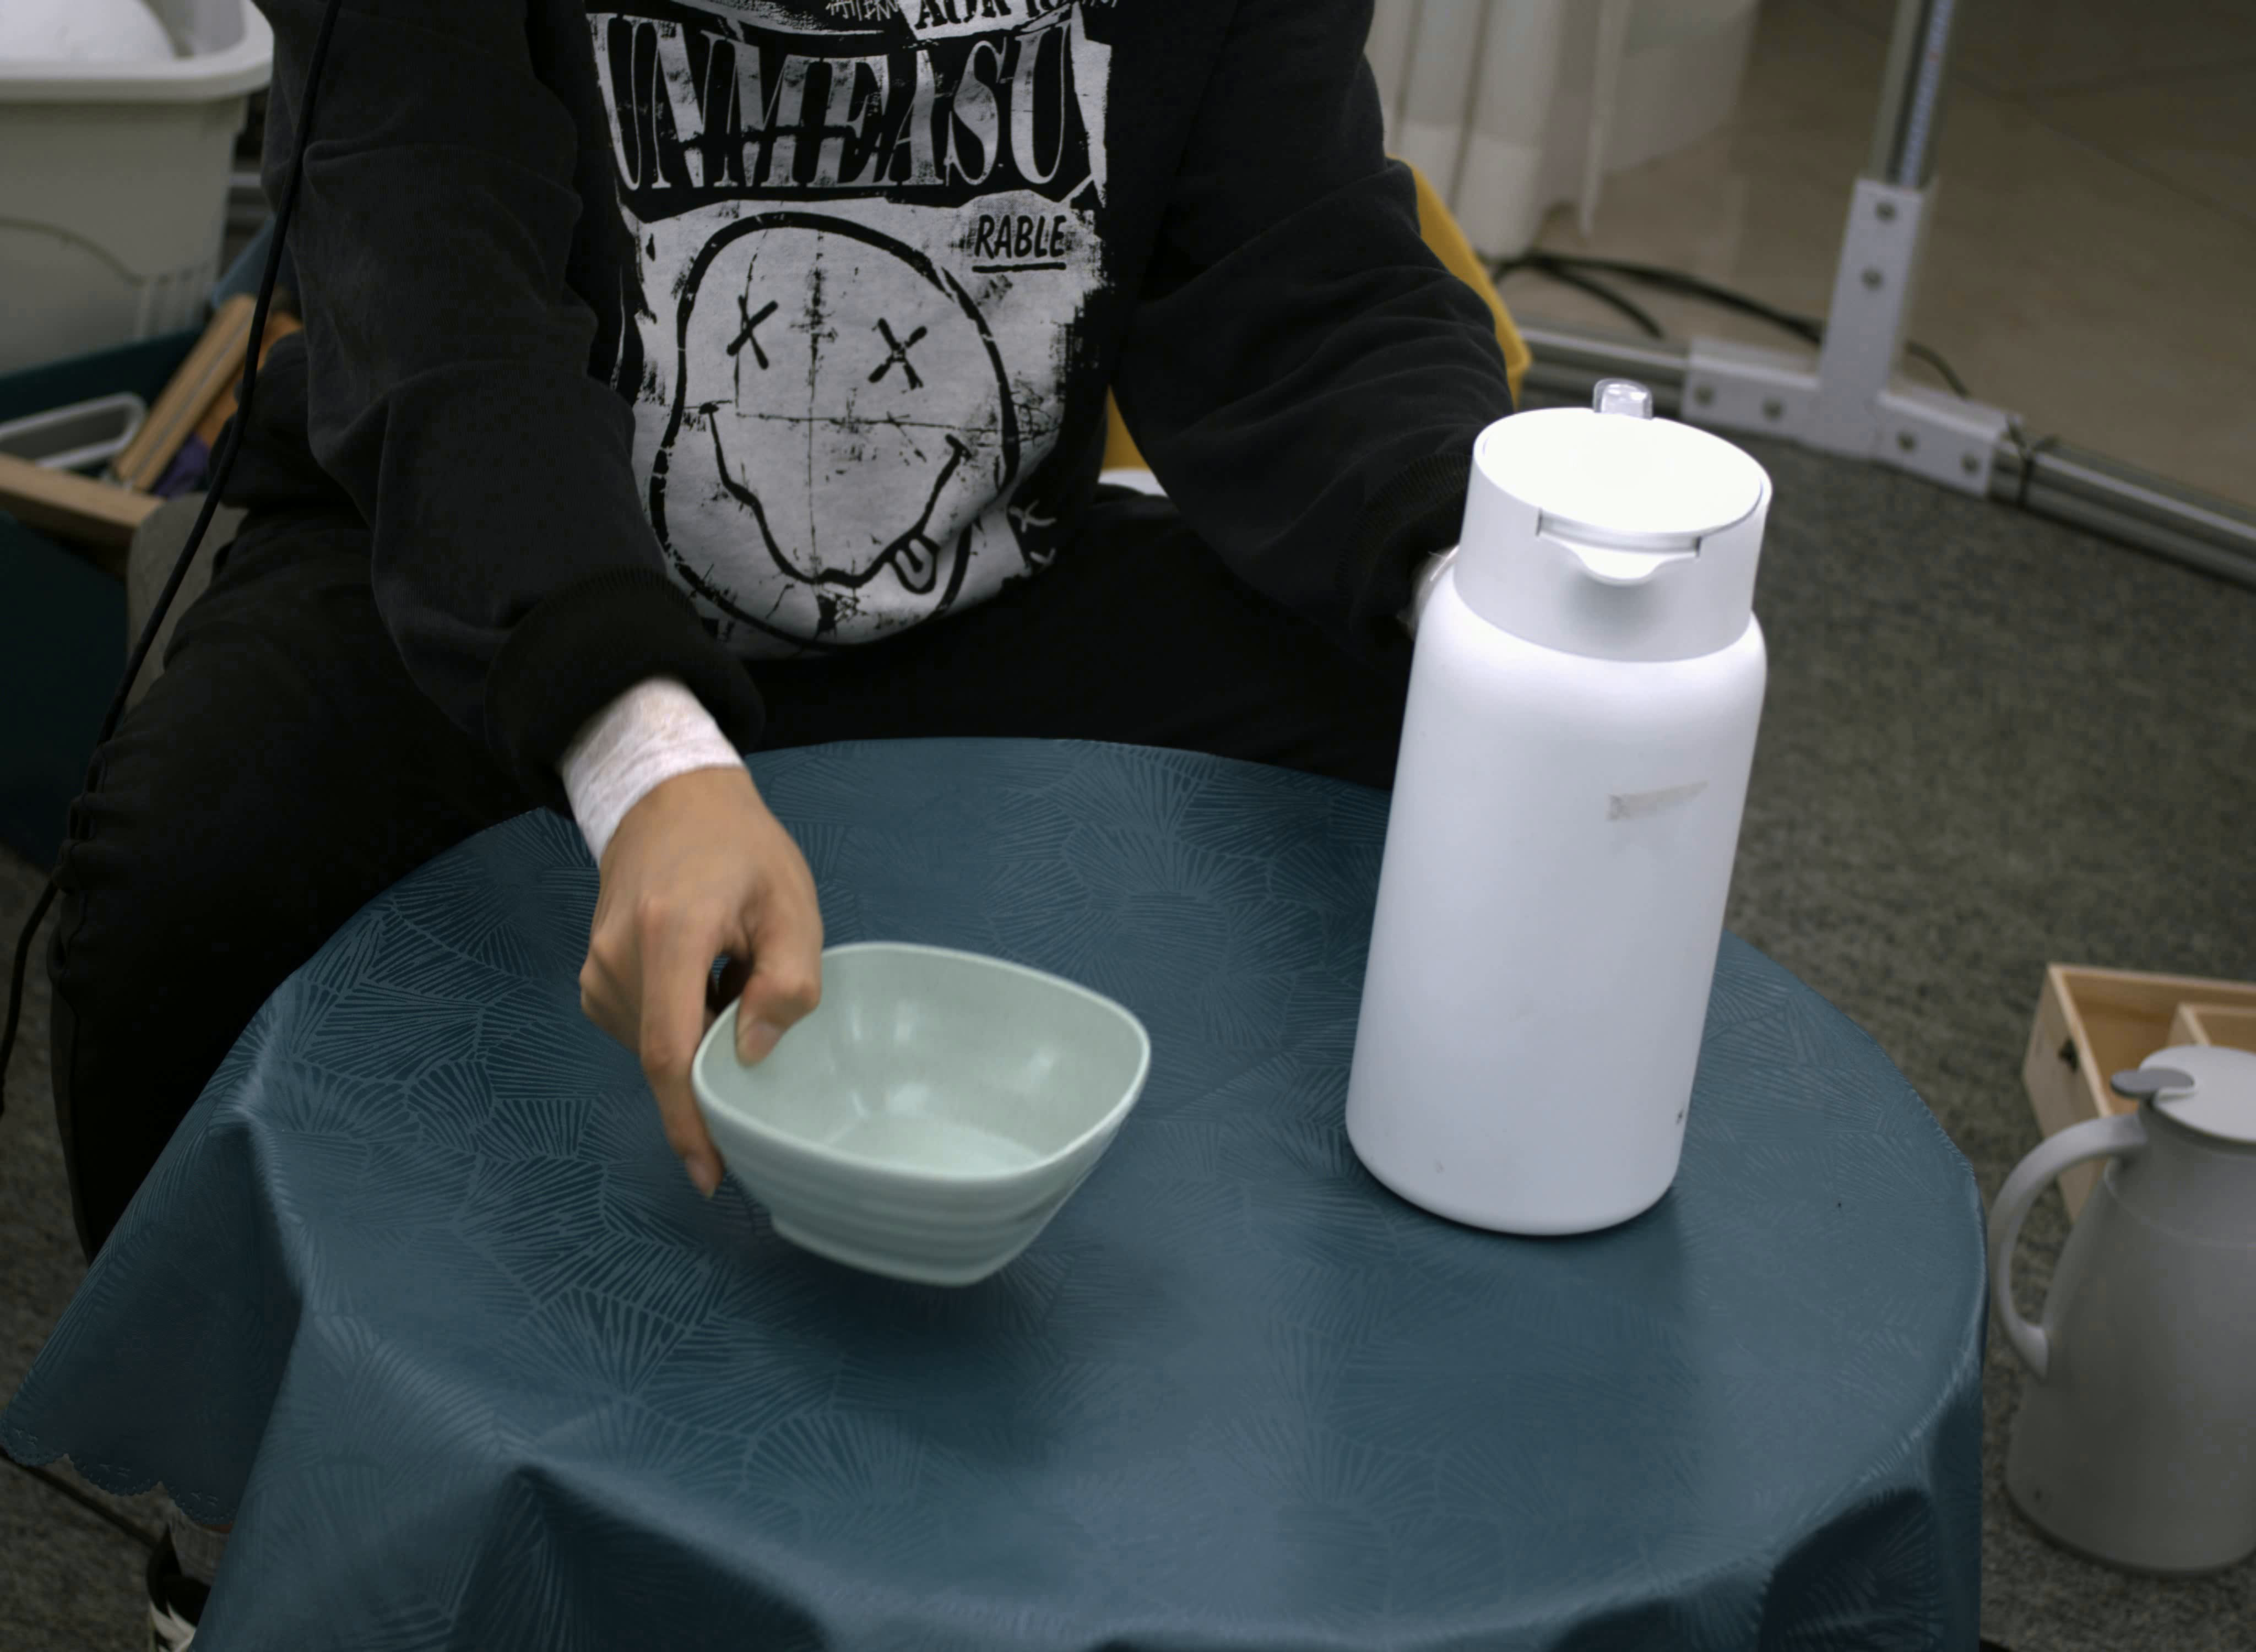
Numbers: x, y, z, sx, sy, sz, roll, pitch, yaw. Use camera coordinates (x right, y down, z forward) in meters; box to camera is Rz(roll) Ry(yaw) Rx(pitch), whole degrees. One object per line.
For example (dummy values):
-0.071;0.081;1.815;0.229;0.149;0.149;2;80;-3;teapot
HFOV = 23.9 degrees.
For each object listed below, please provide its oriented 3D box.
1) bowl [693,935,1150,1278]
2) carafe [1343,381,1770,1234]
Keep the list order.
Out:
-0.067;0.096;1.718;0.151;0.058;0.152;3;27;-2;bowl
0.146;-0.010;1.807;0.123;0.268;0.174;5;27;1;carafe
